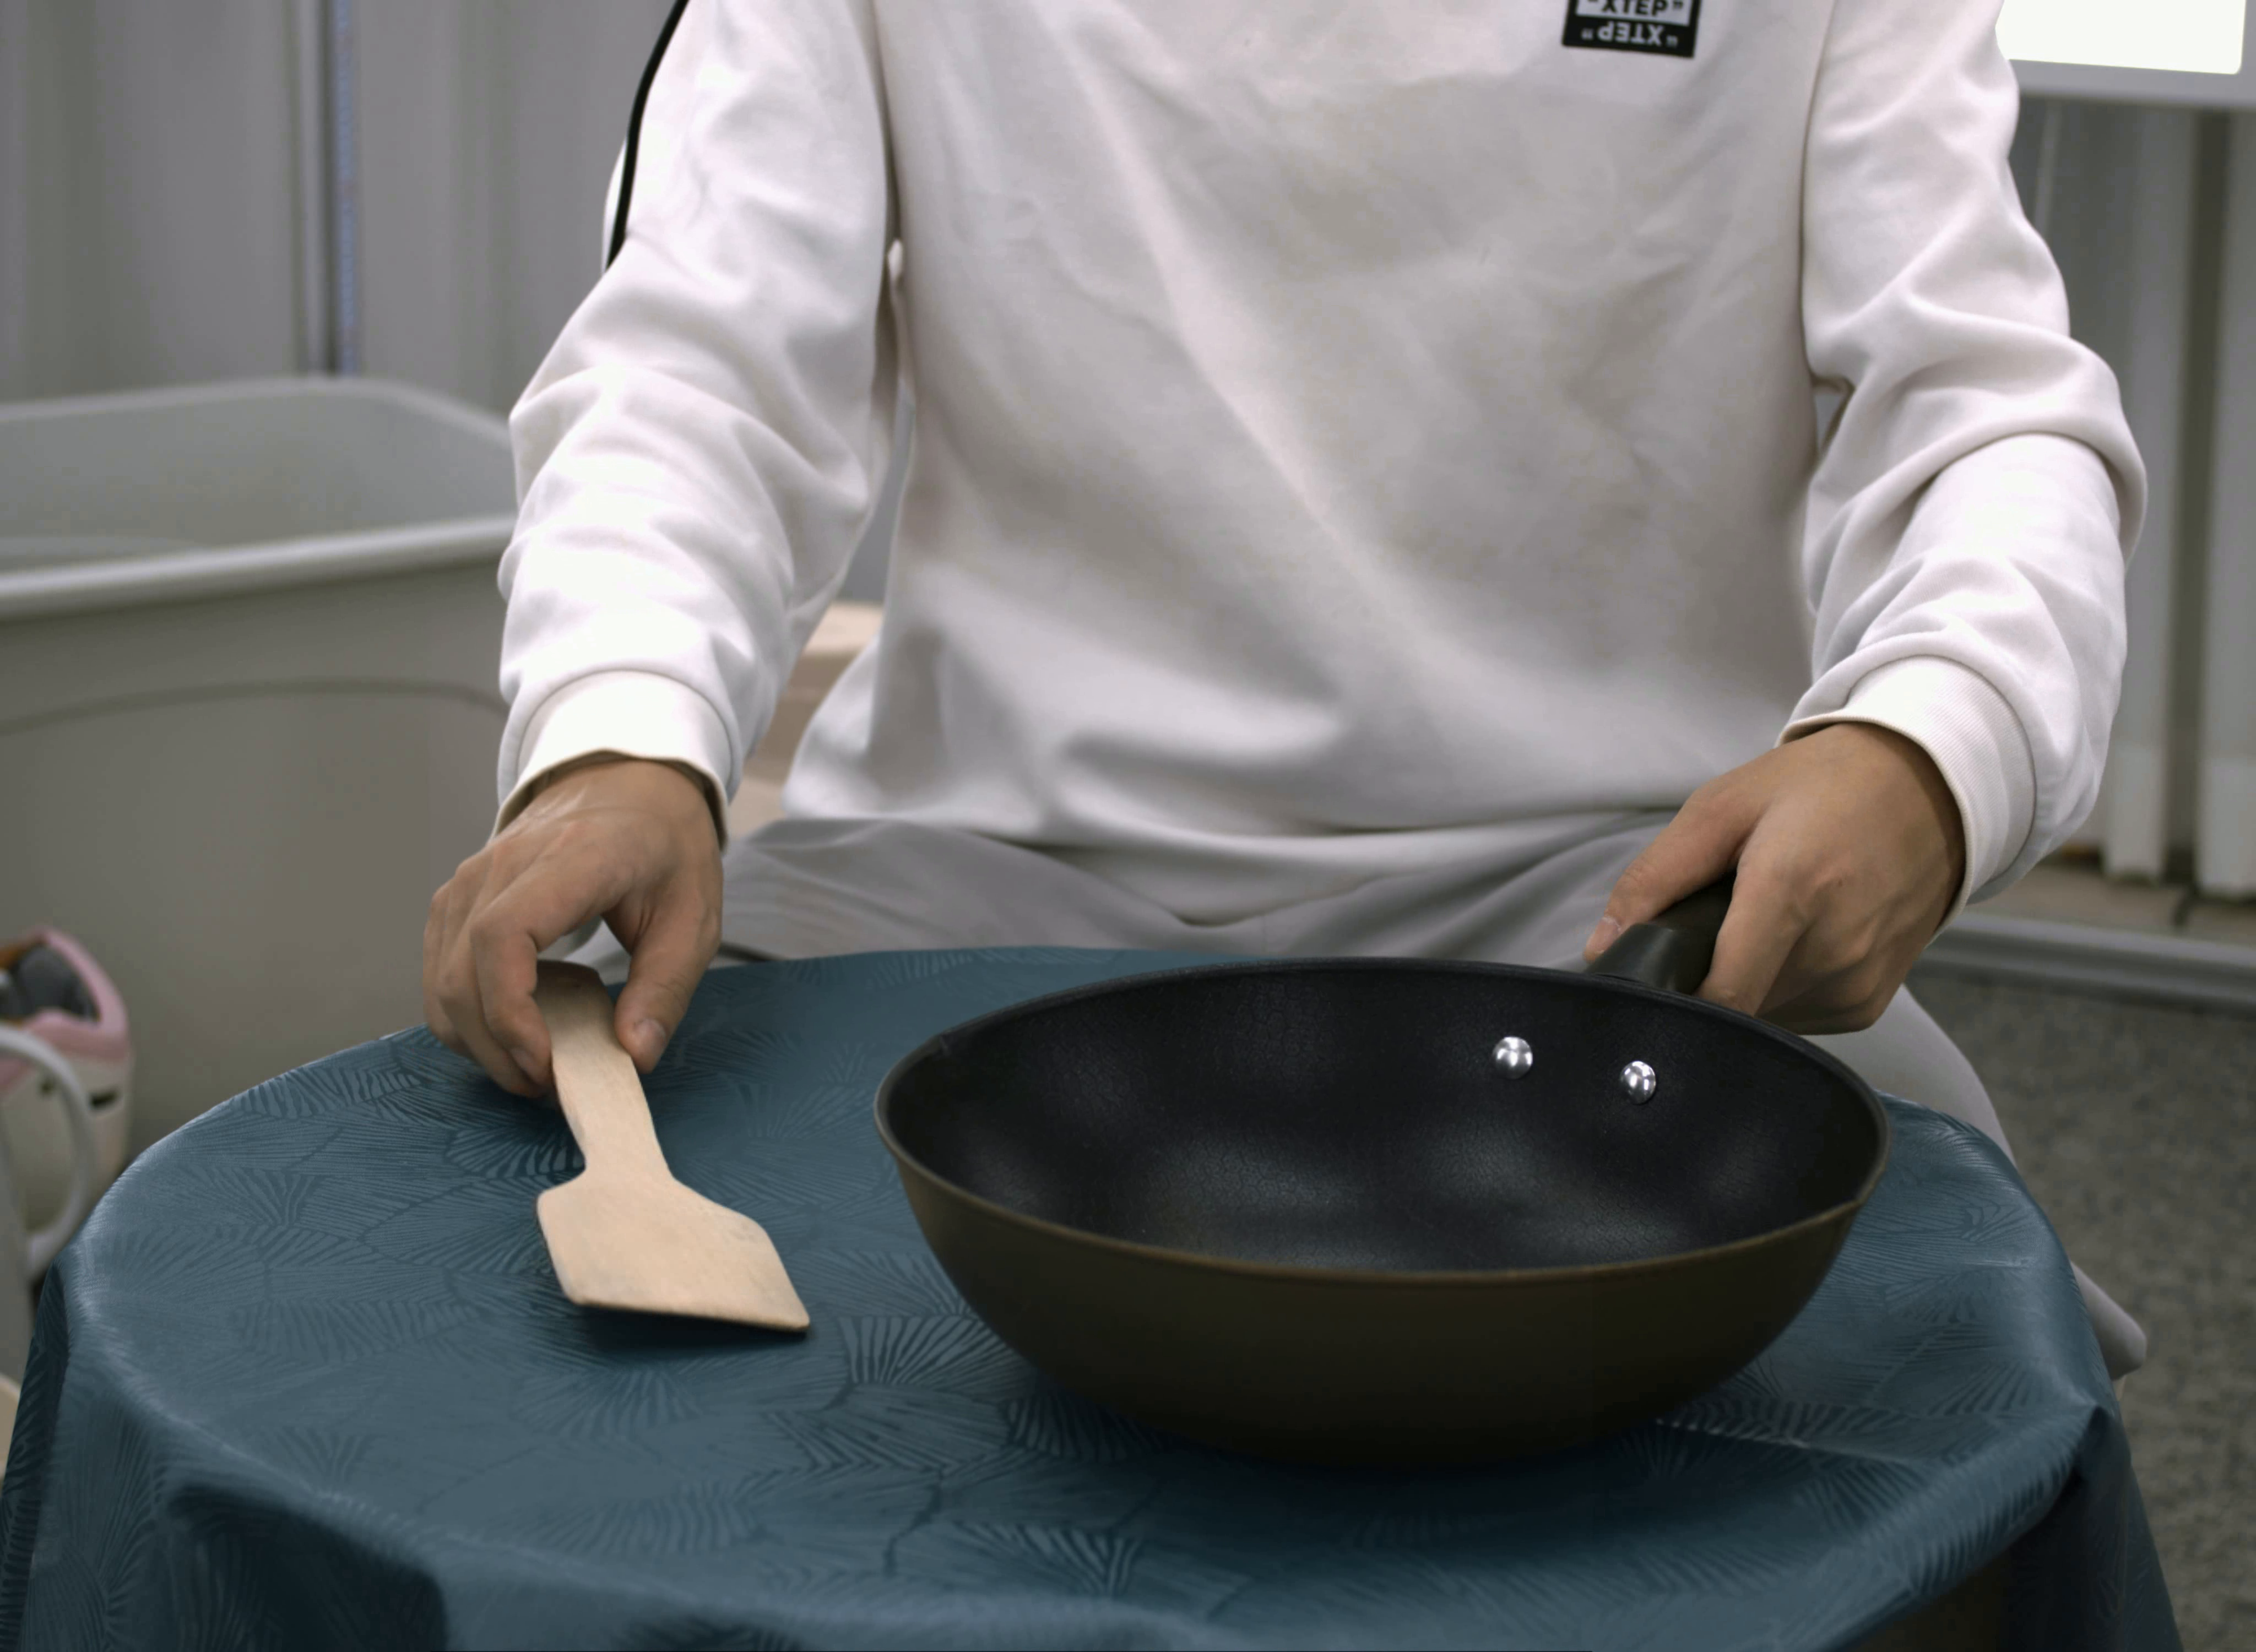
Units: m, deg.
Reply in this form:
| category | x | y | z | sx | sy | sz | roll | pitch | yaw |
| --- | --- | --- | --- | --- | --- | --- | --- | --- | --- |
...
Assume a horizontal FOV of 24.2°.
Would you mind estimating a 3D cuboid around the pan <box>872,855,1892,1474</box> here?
| category | x | y | z | sx | sy | sz | roll | pitch | yaw |
| --- | --- | --- | --- | --- | --- | --- | --- | --- | --- |
| pan | 0.115 | 0.094 | 1.545 | 0.285 | 0.087 | 0.465 | 10 | 17 | 28 |

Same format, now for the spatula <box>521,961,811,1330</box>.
| category | x | y | z | sx | sy | sz | roll | pitch | yaw |
| --- | --- | --- | --- | --- | --- | --- | --- | --- | --- |
| spatula | -0.158 | 0.095 | 1.625 | 0.072 | 0.011 | 0.290 | 6 | 17 | -17 |
